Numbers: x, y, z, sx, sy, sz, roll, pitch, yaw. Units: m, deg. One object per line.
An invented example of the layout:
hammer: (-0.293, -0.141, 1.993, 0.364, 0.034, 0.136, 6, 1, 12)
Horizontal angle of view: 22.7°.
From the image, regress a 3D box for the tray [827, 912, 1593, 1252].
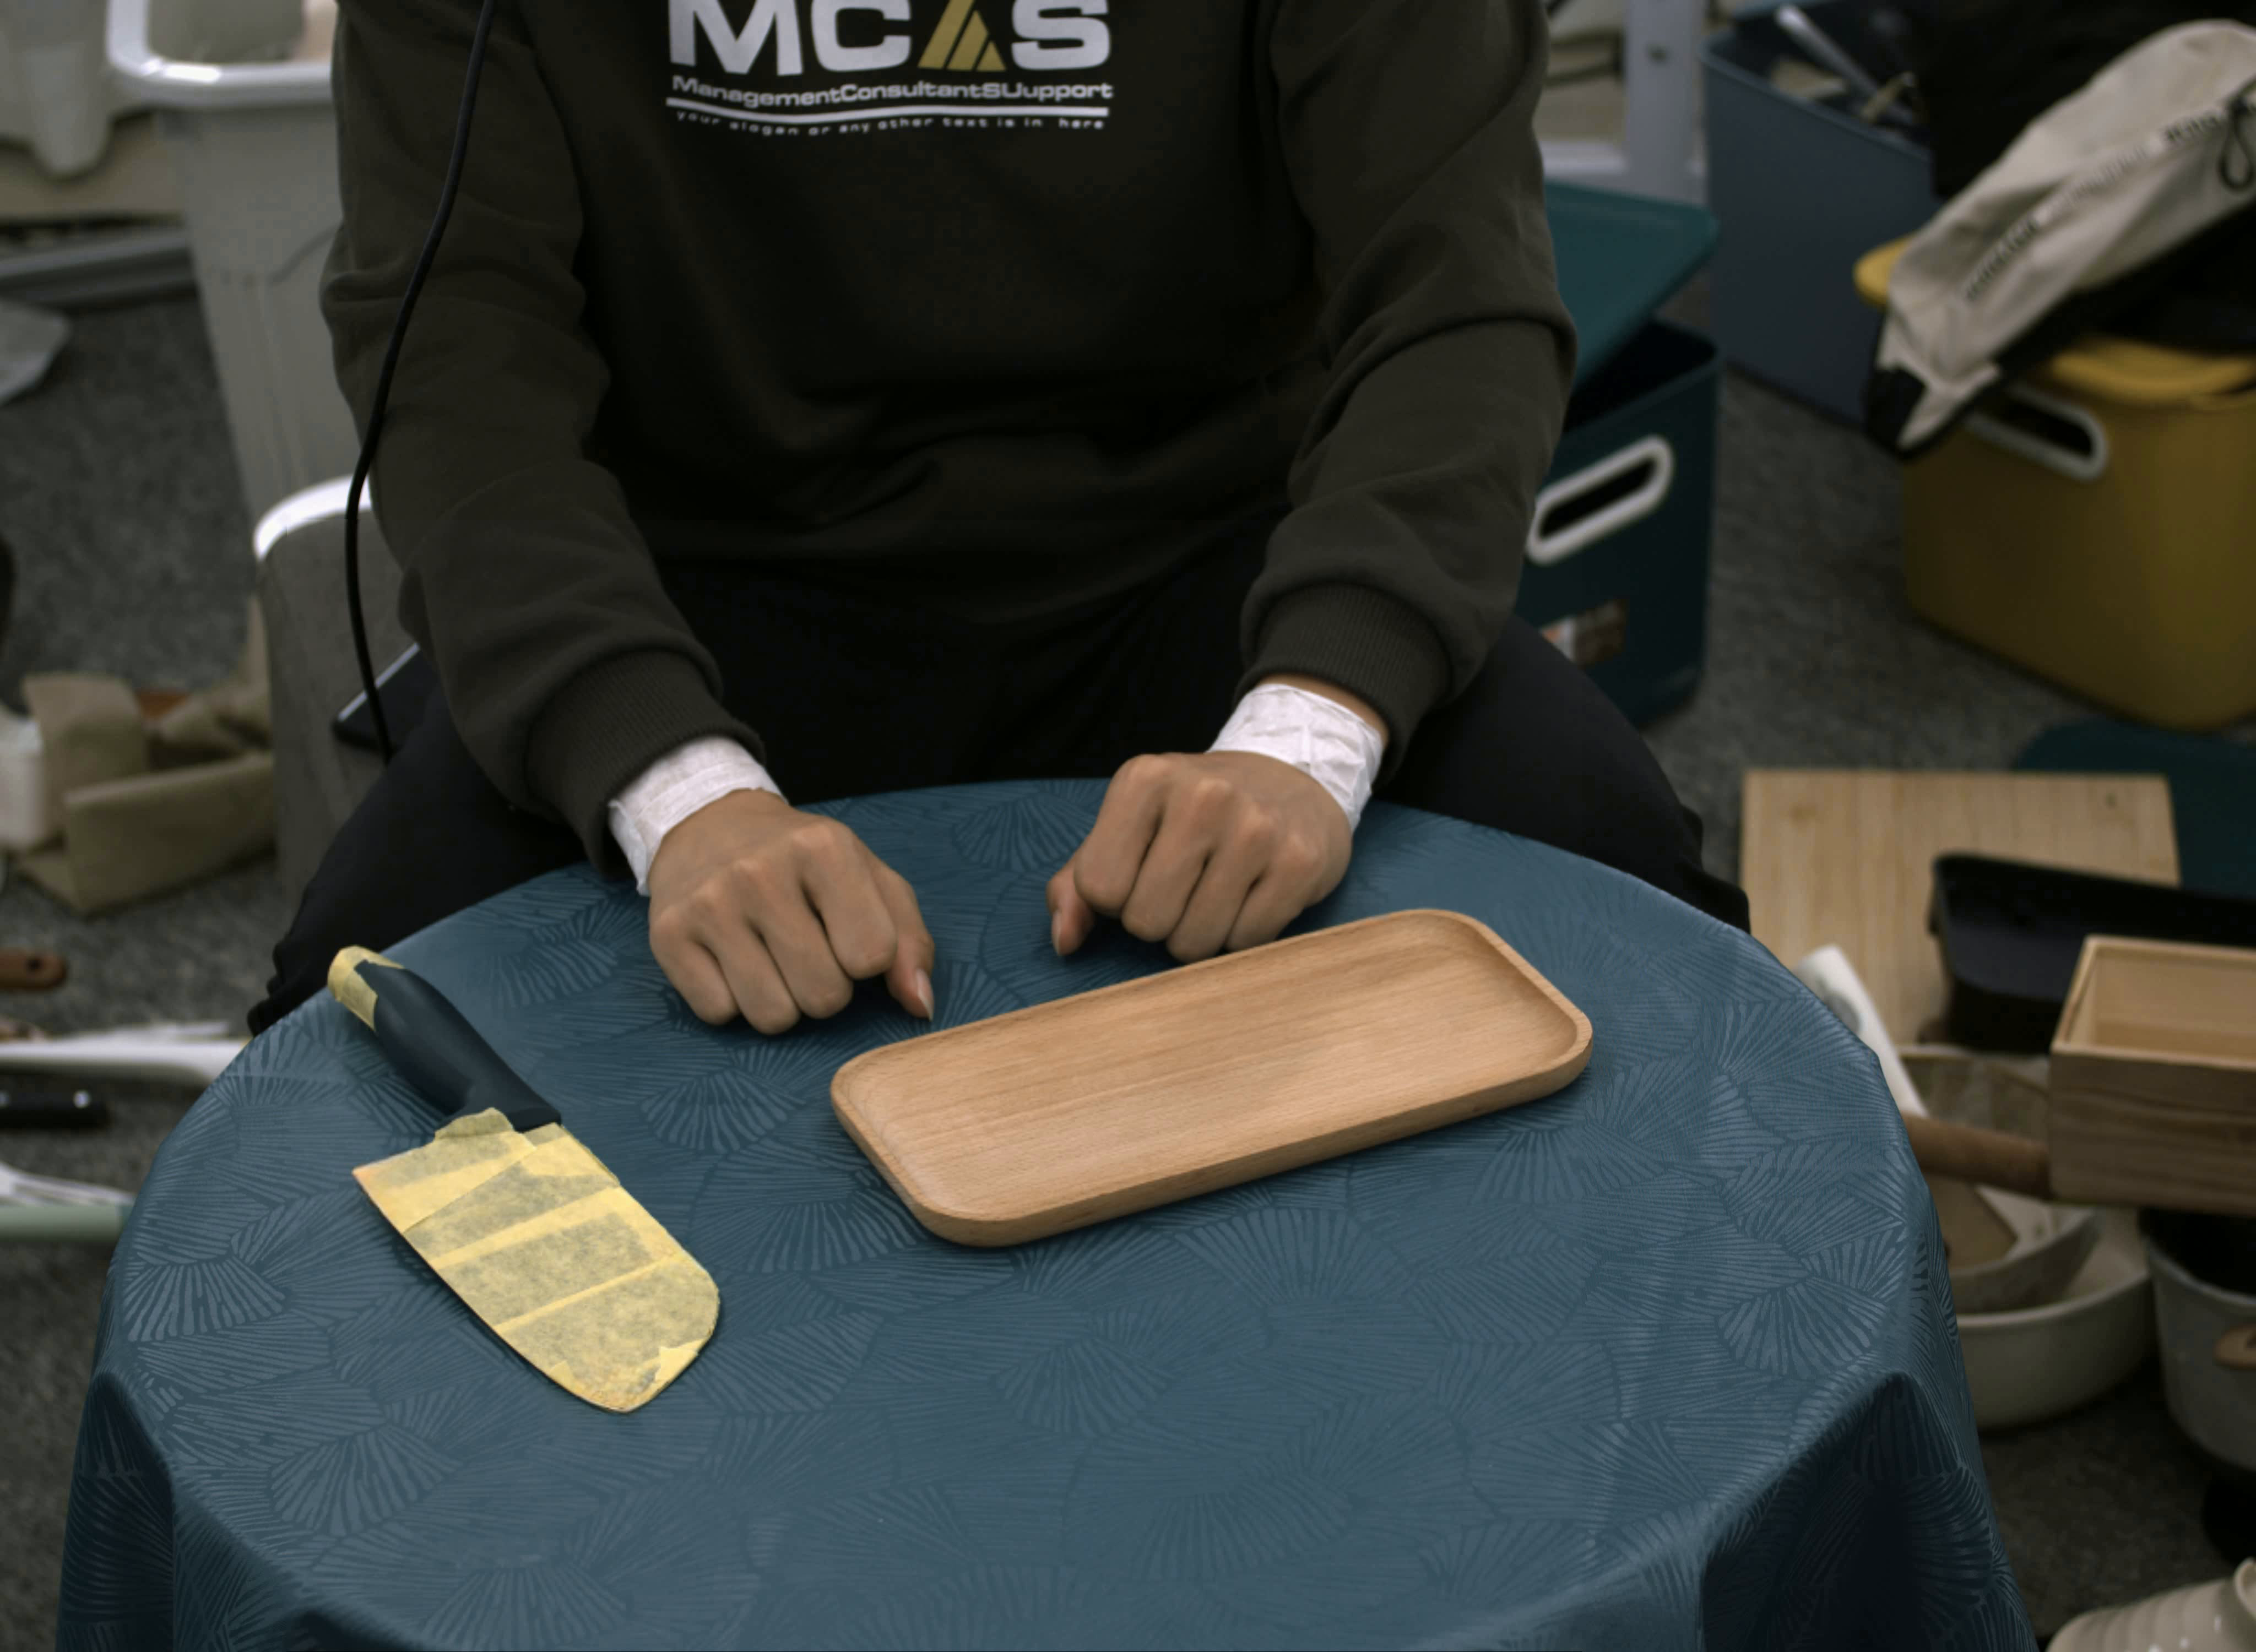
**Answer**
tray: (0.028, 0.086, 1.910, 0.251, 0.022, 0.131, -14, 27, -21)

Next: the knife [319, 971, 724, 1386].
knife: (-0.216, 0.118, 1.873, 0.081, 0.027, 0.291, -15, 30, -25)
